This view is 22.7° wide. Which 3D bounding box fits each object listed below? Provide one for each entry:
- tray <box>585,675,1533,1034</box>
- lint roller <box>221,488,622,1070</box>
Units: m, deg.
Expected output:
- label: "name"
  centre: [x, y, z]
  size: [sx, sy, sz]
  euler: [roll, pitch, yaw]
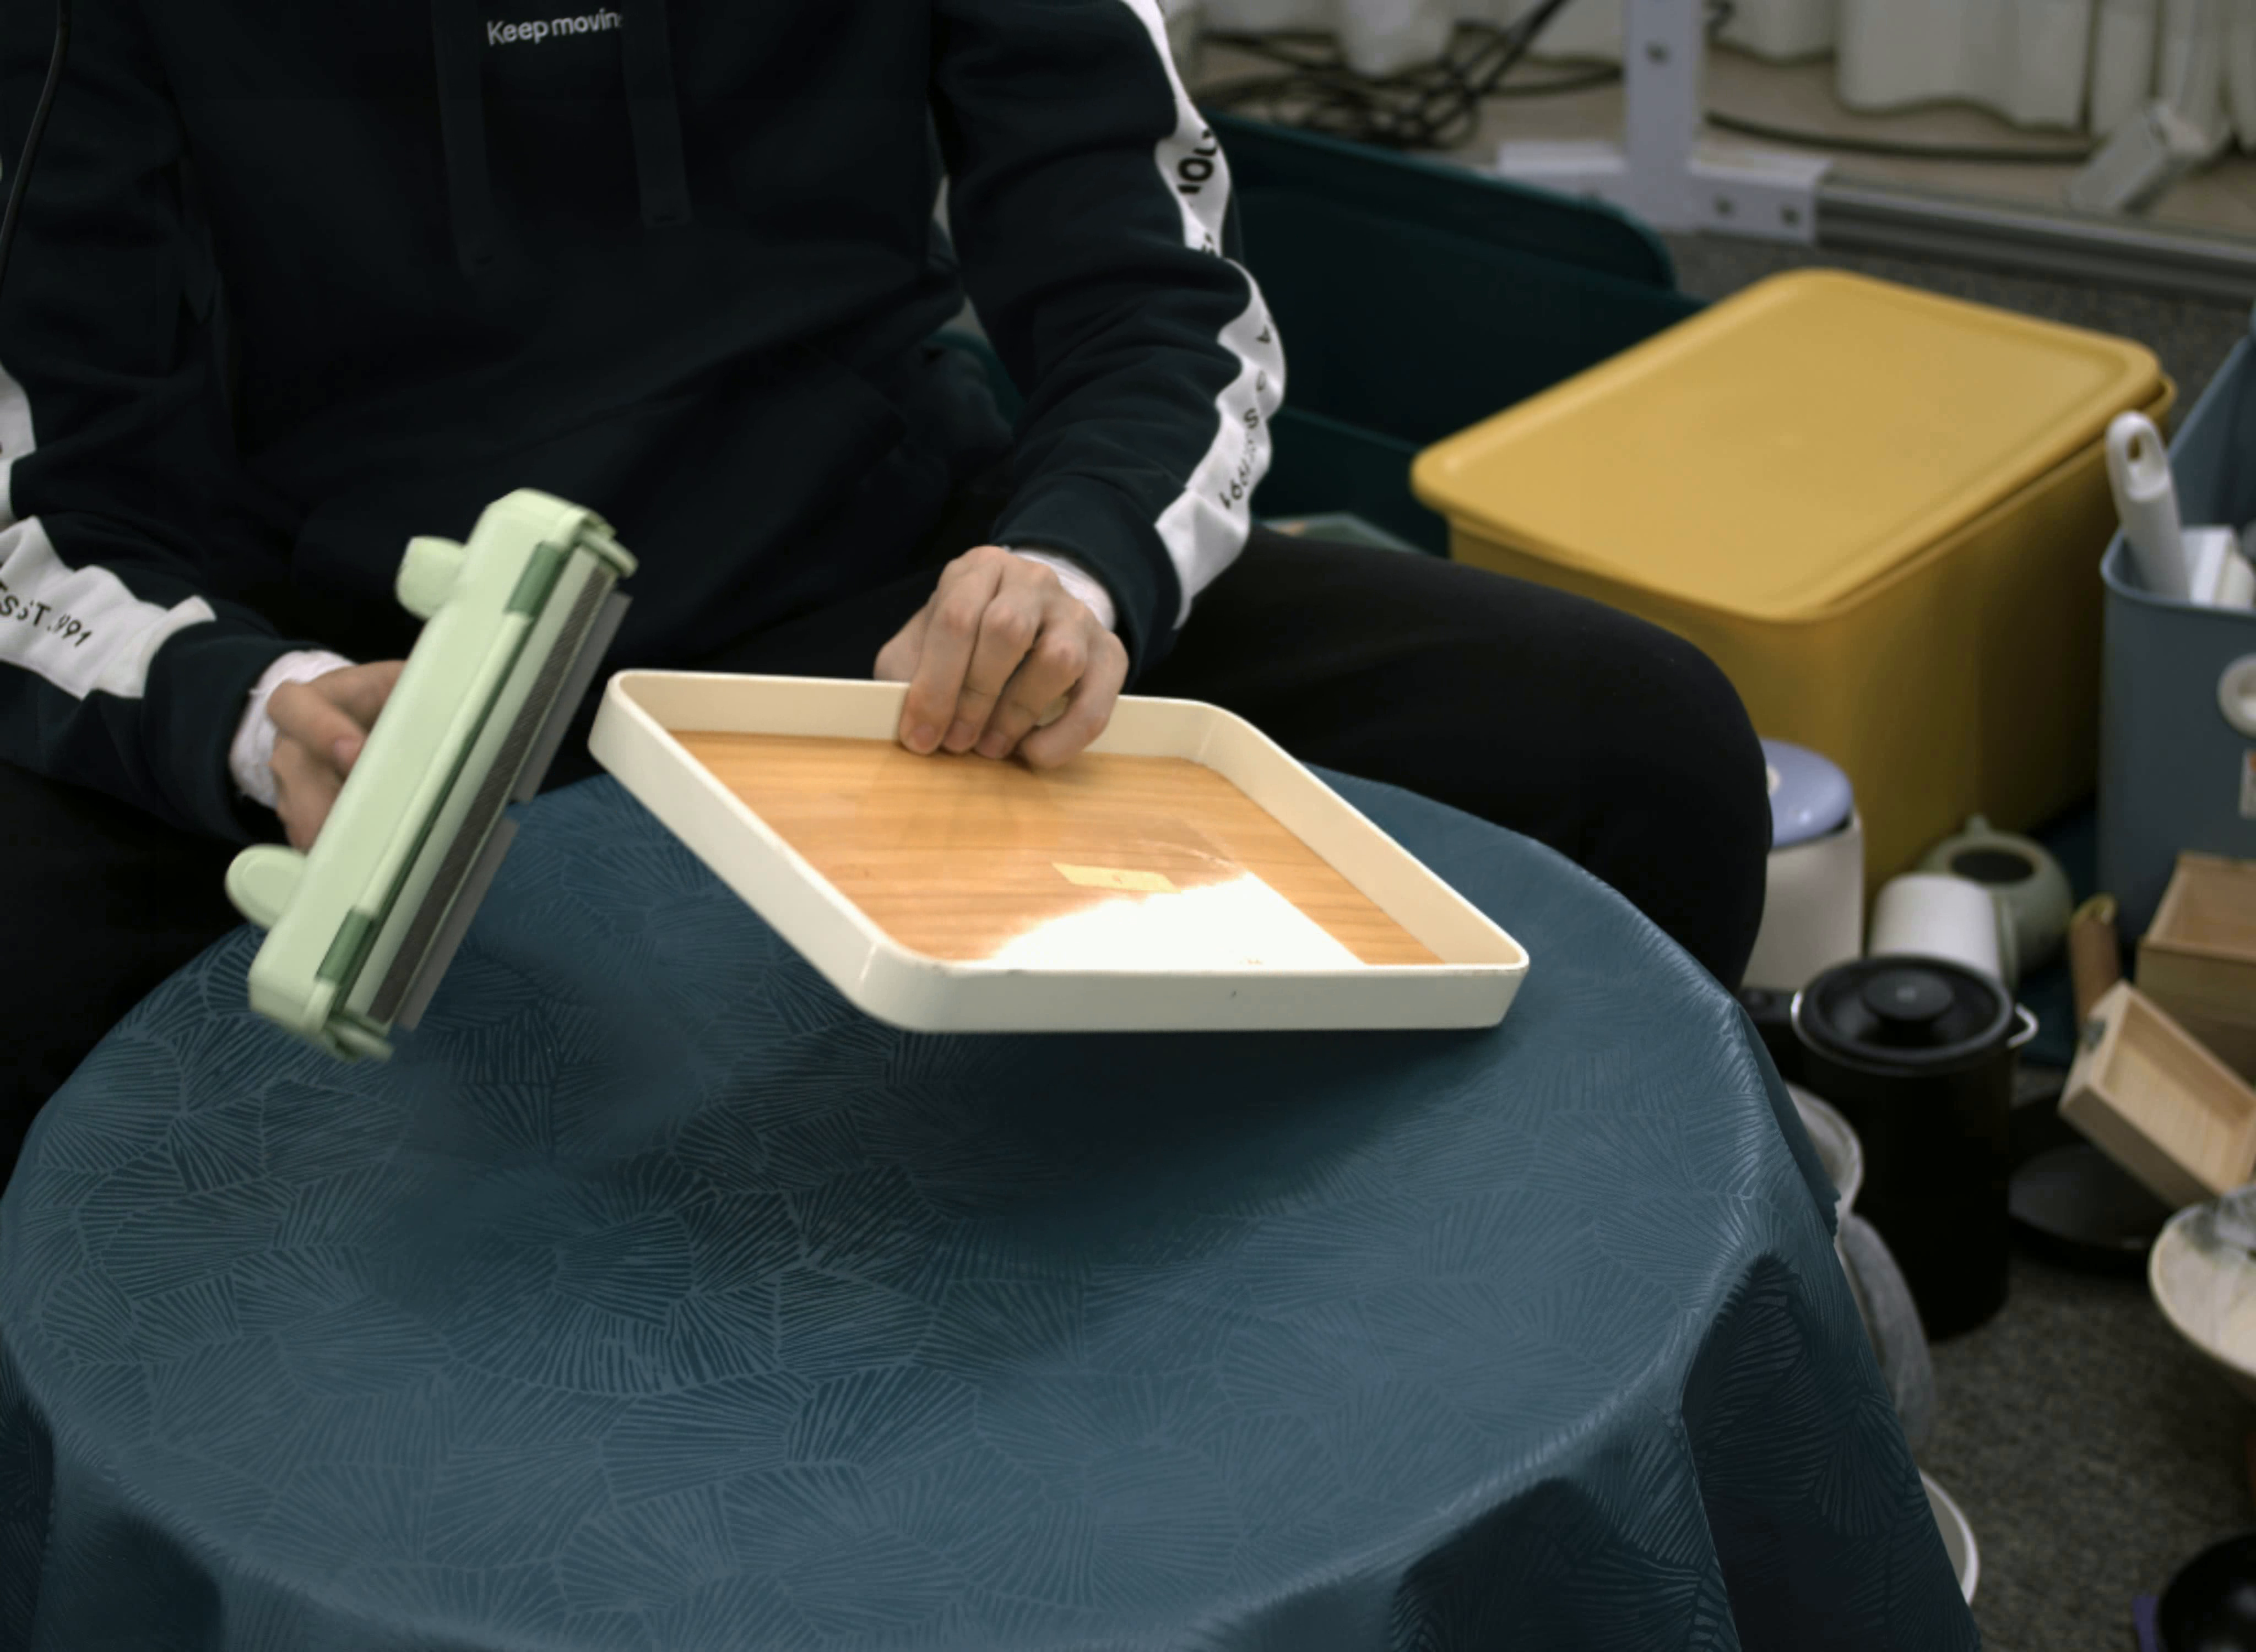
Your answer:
- label: "tray"
  centre: [-0.020, 0.011, 1.901]
  size: [0.301, 0.027, 0.192]
  euler: [2, 28, -44]
- label: "lint roller"
  centre: [-0.256, -0.020, 1.905]
  size: [0.082, 0.200, 0.182]
  euler: [29, -11, -22]
